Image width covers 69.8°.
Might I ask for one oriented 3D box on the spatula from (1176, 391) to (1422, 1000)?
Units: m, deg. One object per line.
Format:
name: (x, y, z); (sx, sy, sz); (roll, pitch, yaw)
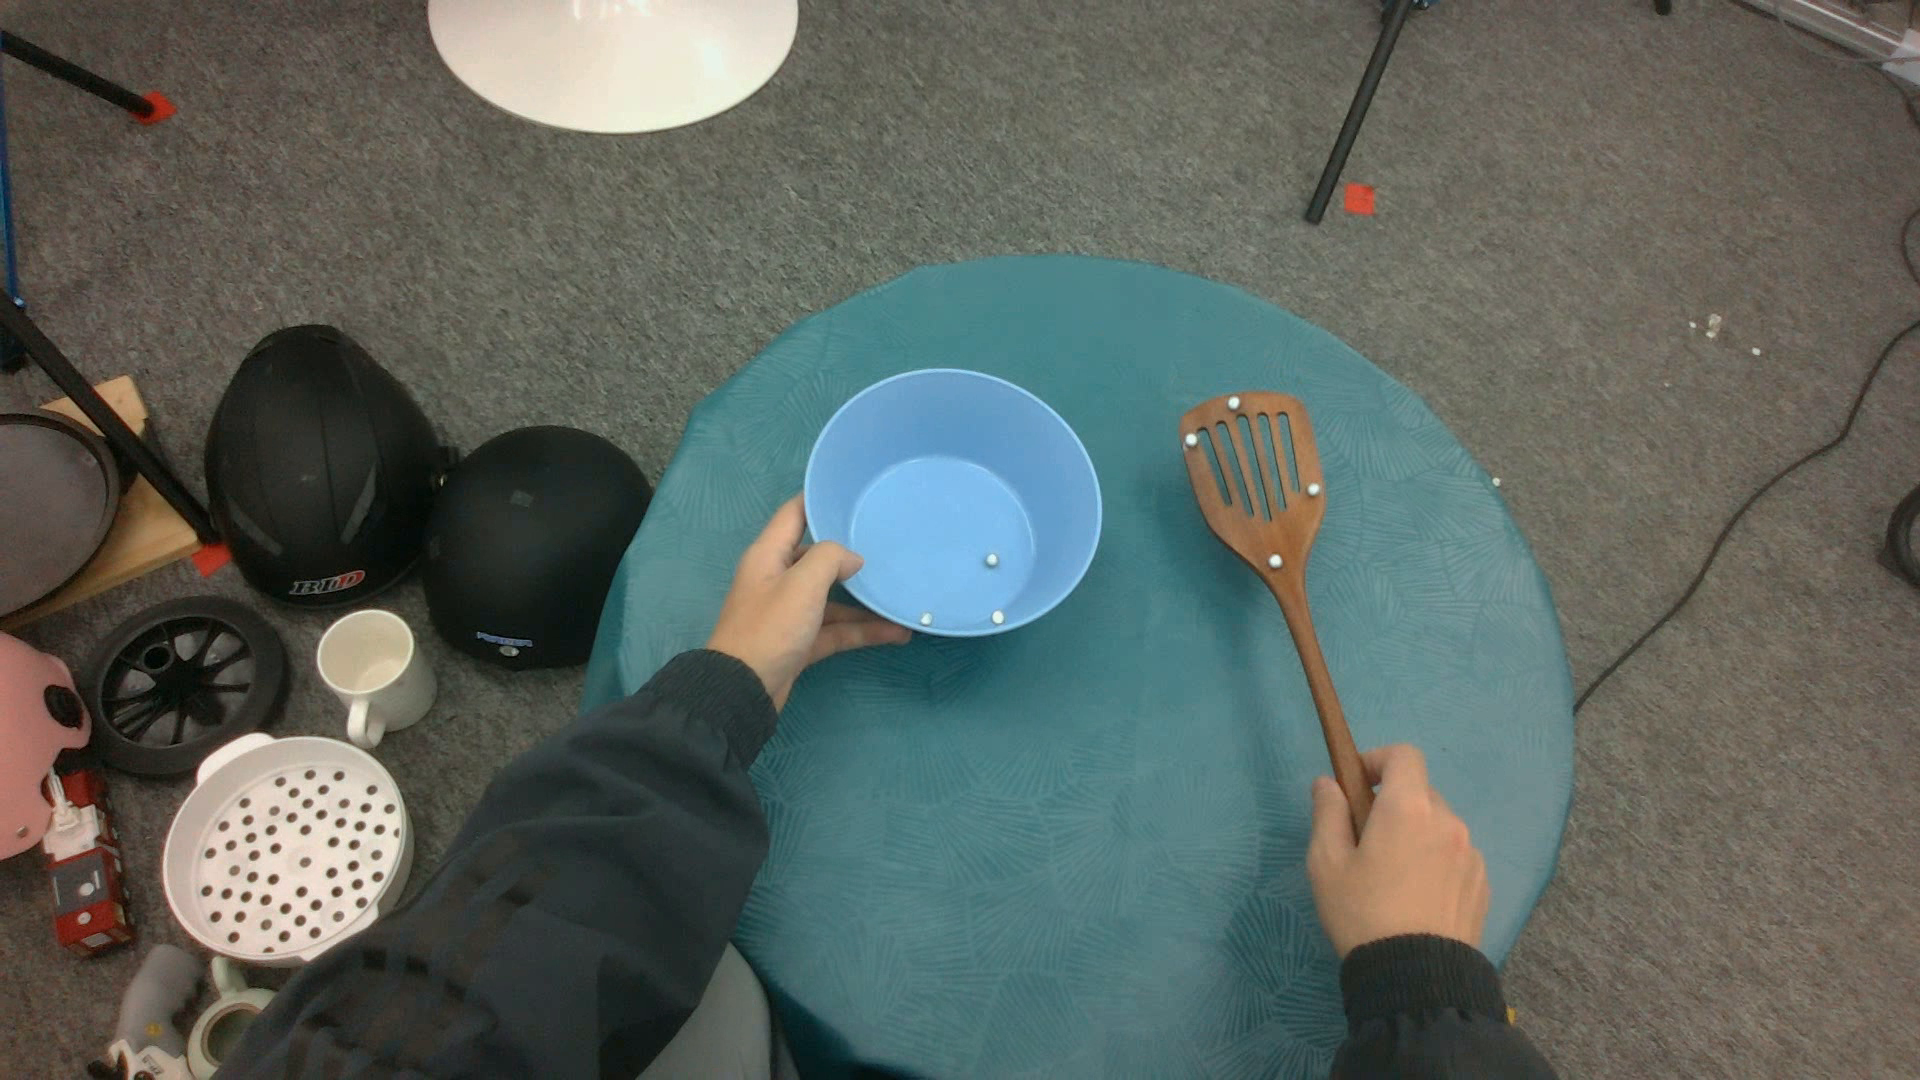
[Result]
spatula: (0.207, 0.074, 0.815); (0.085, 0.024, 0.388); (-11, 60, 3)

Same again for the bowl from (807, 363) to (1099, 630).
bowl: (-0.007, -0.017, 0.845); (0.176, 0.070, 0.176); (3, 65, -7)
